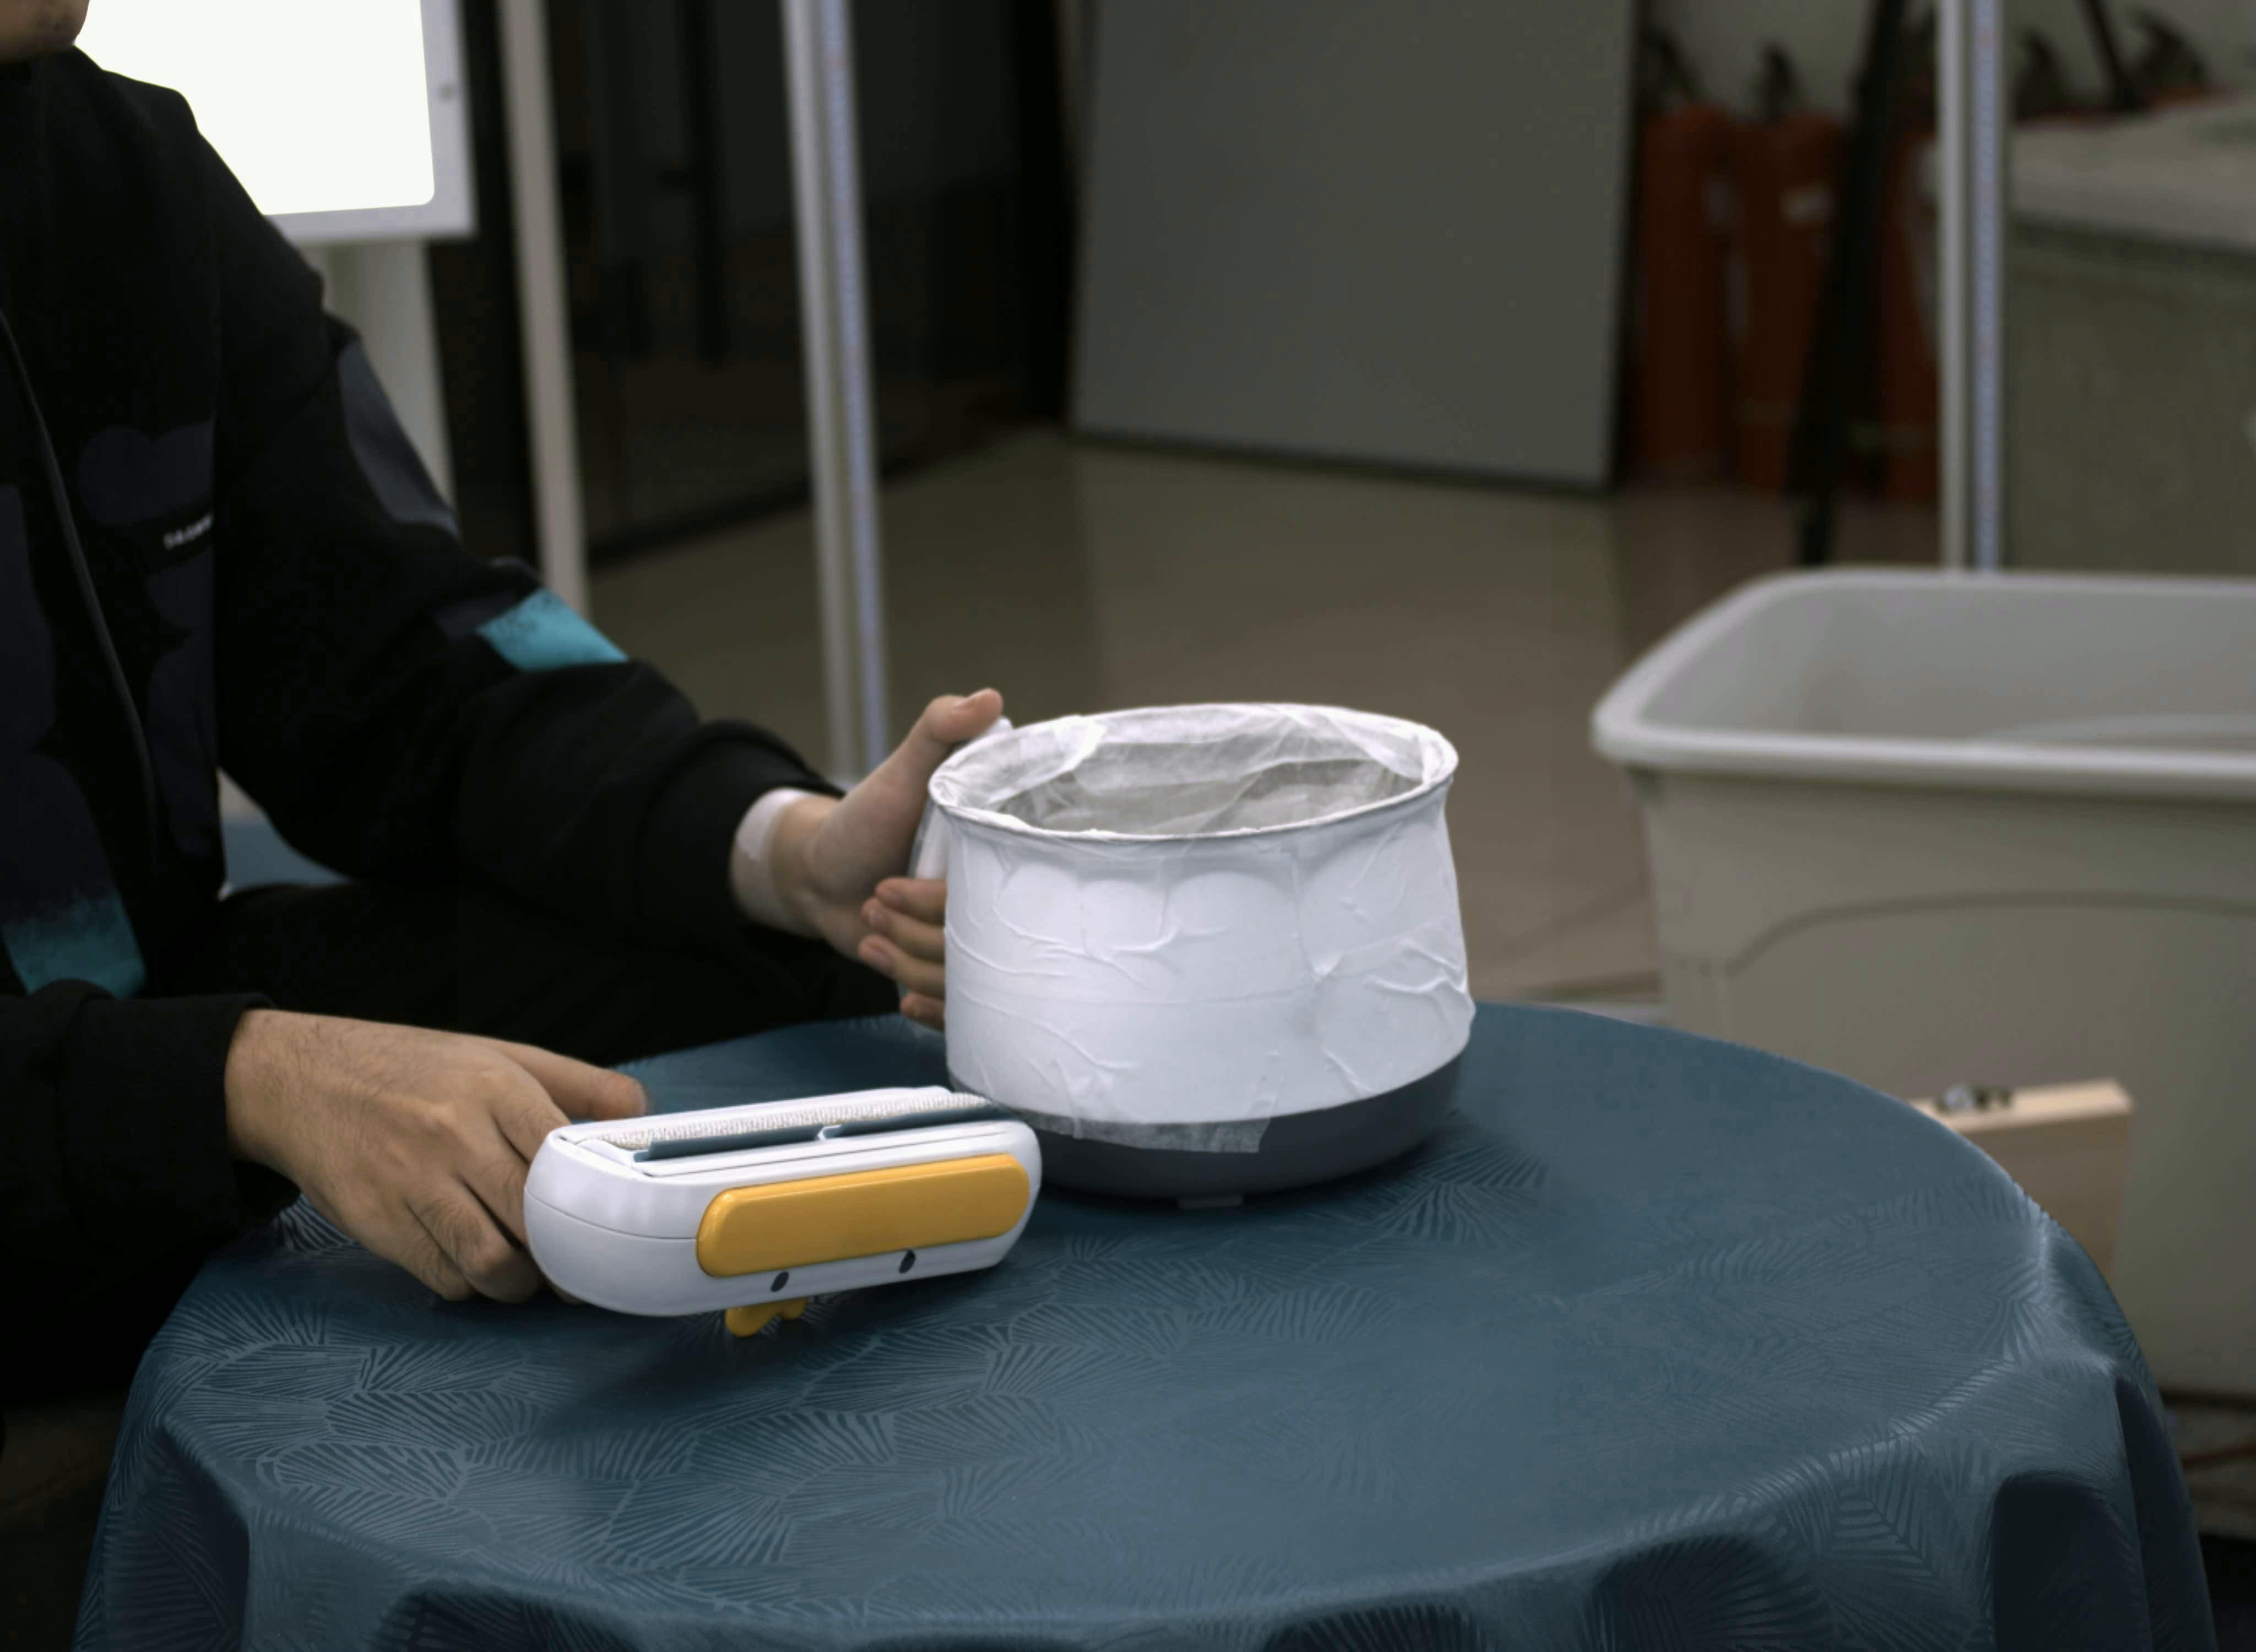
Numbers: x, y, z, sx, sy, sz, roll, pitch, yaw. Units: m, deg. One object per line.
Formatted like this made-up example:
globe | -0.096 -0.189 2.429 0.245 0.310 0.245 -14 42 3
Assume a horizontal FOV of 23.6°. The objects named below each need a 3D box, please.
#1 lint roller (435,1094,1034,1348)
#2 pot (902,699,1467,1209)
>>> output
lint roller | -0.149 0.116 1.694 0.188 0.075 0.194 -9 11 -44
pot | 0.006 0.036 1.817 0.175 0.138 0.236 -14 18 -42
